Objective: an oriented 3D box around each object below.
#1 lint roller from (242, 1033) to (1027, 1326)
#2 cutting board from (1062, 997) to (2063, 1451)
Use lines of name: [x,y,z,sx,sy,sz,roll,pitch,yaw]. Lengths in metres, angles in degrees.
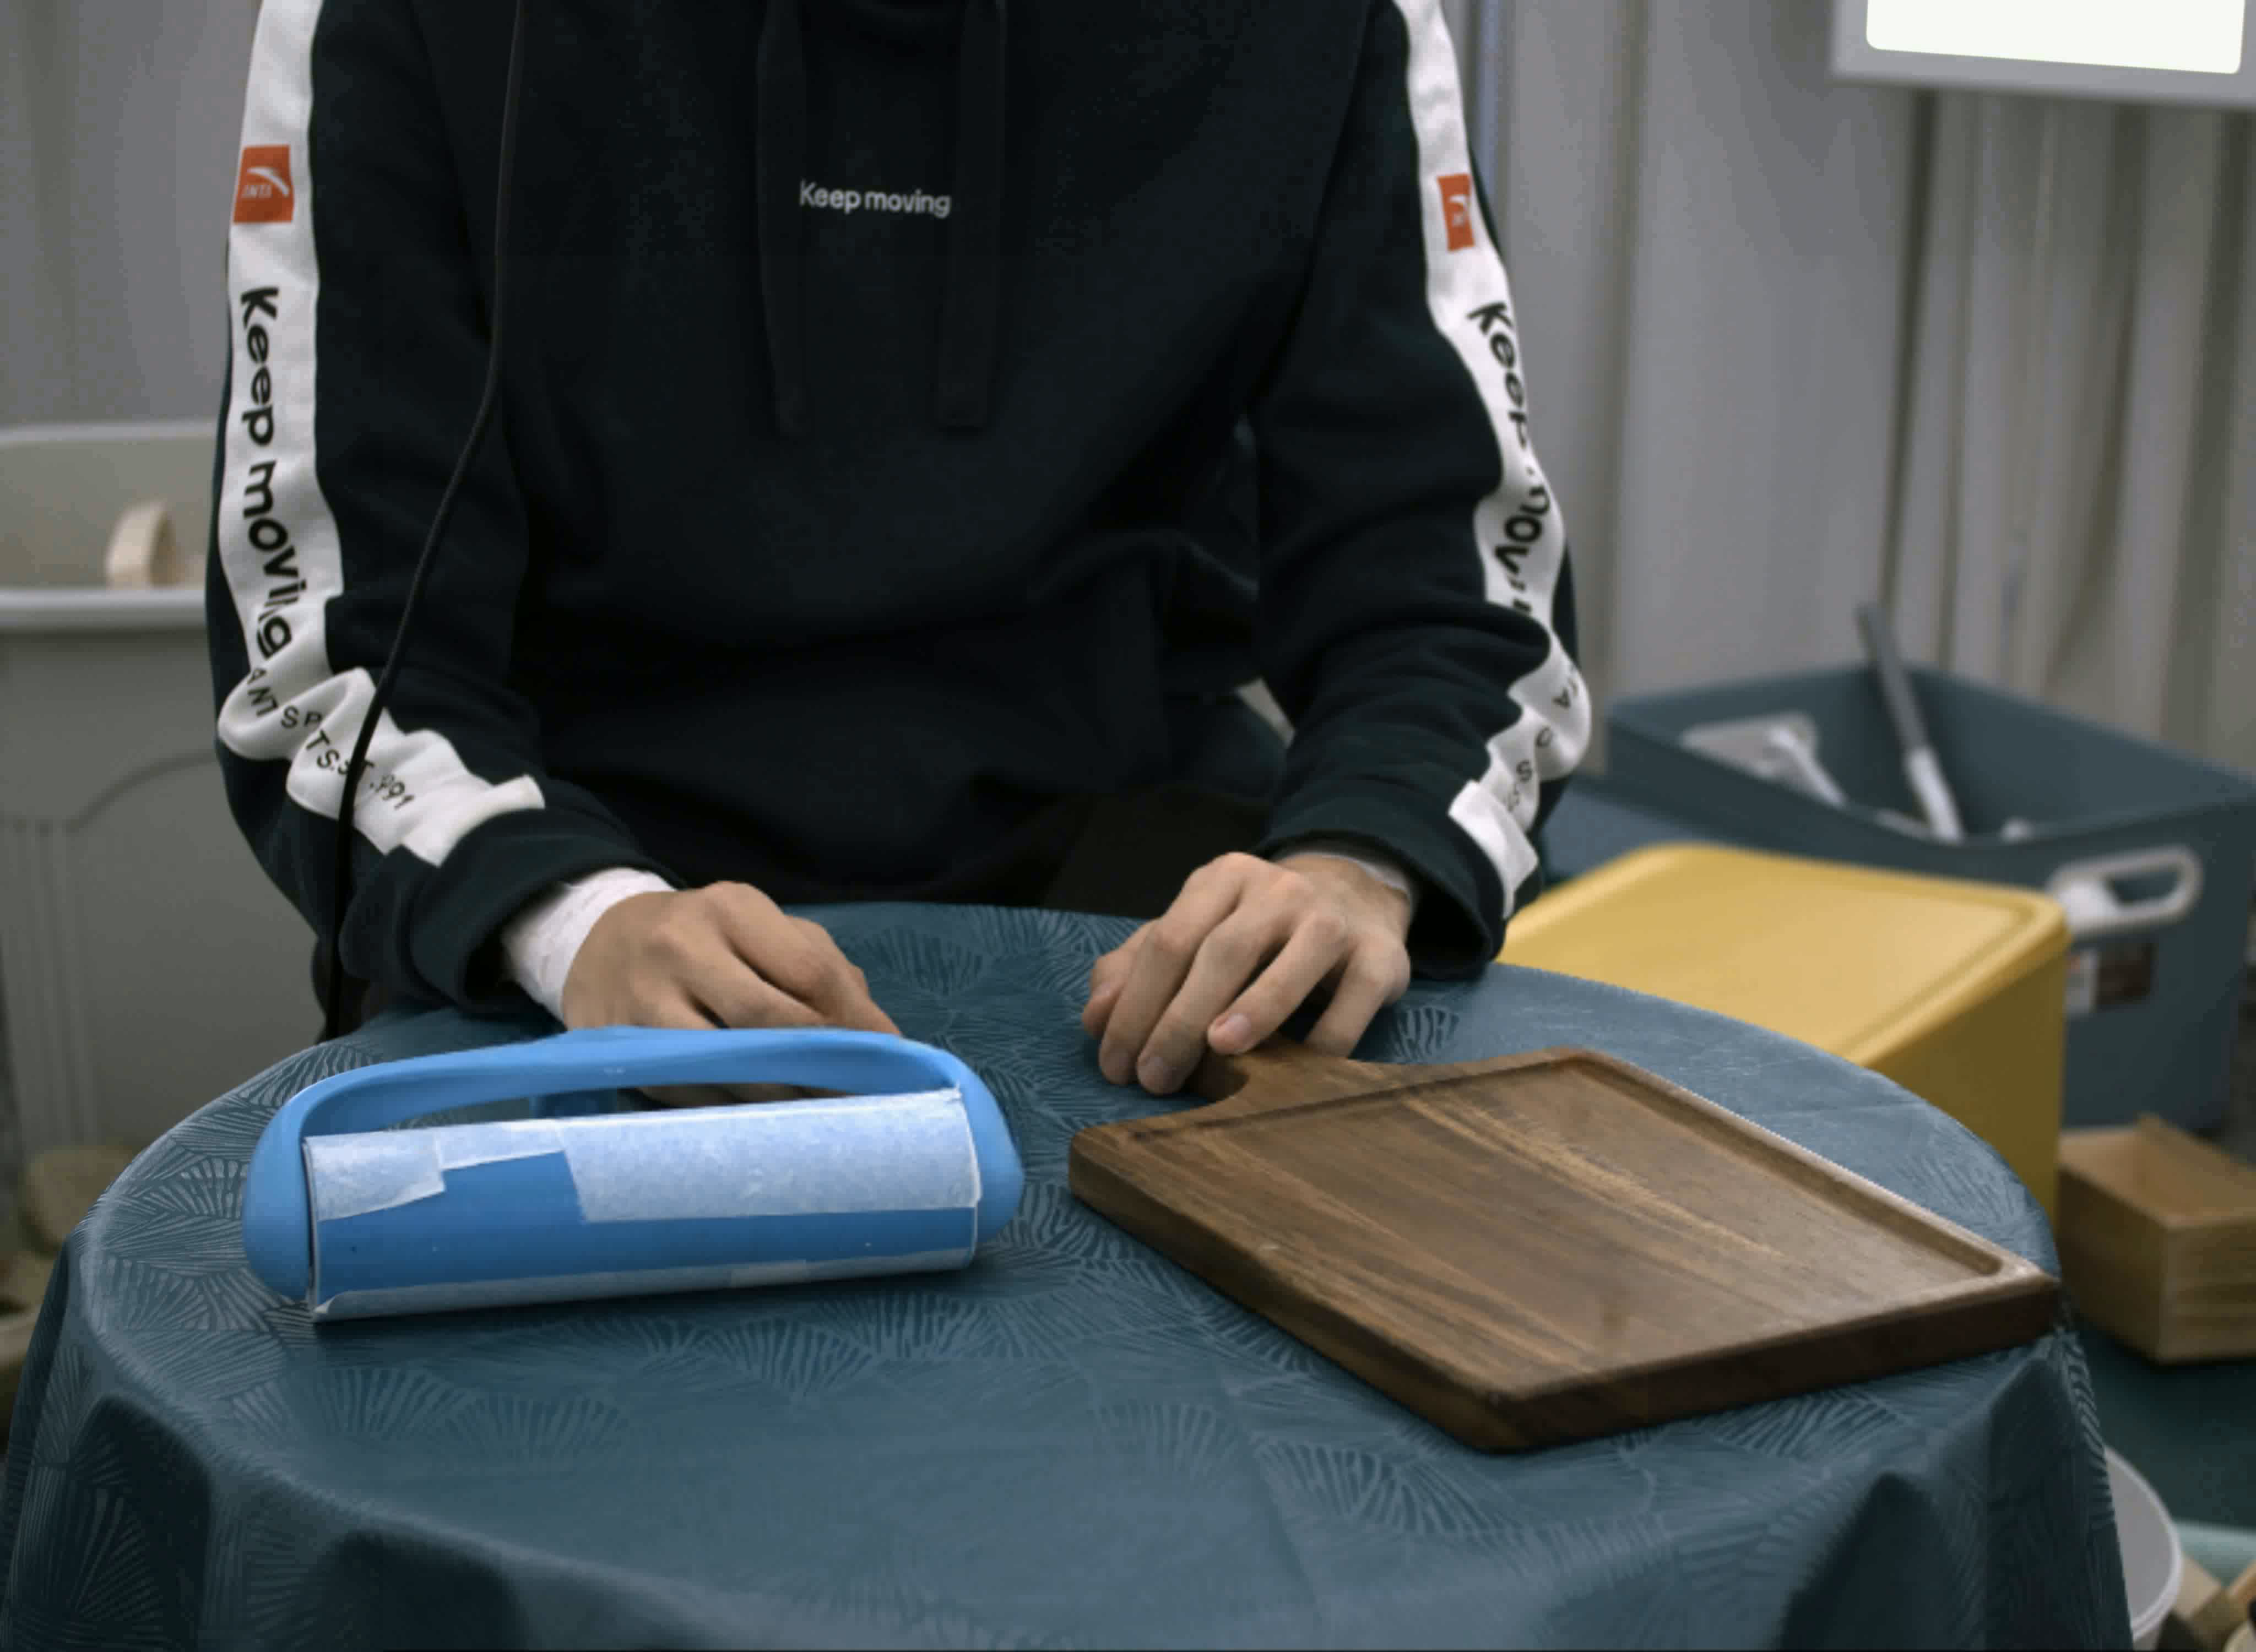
lint roller: [-0.158,0.093,1.577,0.229,0.068,0.178,-6,17,-16]
cutting board: [0.100,0.107,1.599,0.202,0.023,0.347,-8,17,-29]
